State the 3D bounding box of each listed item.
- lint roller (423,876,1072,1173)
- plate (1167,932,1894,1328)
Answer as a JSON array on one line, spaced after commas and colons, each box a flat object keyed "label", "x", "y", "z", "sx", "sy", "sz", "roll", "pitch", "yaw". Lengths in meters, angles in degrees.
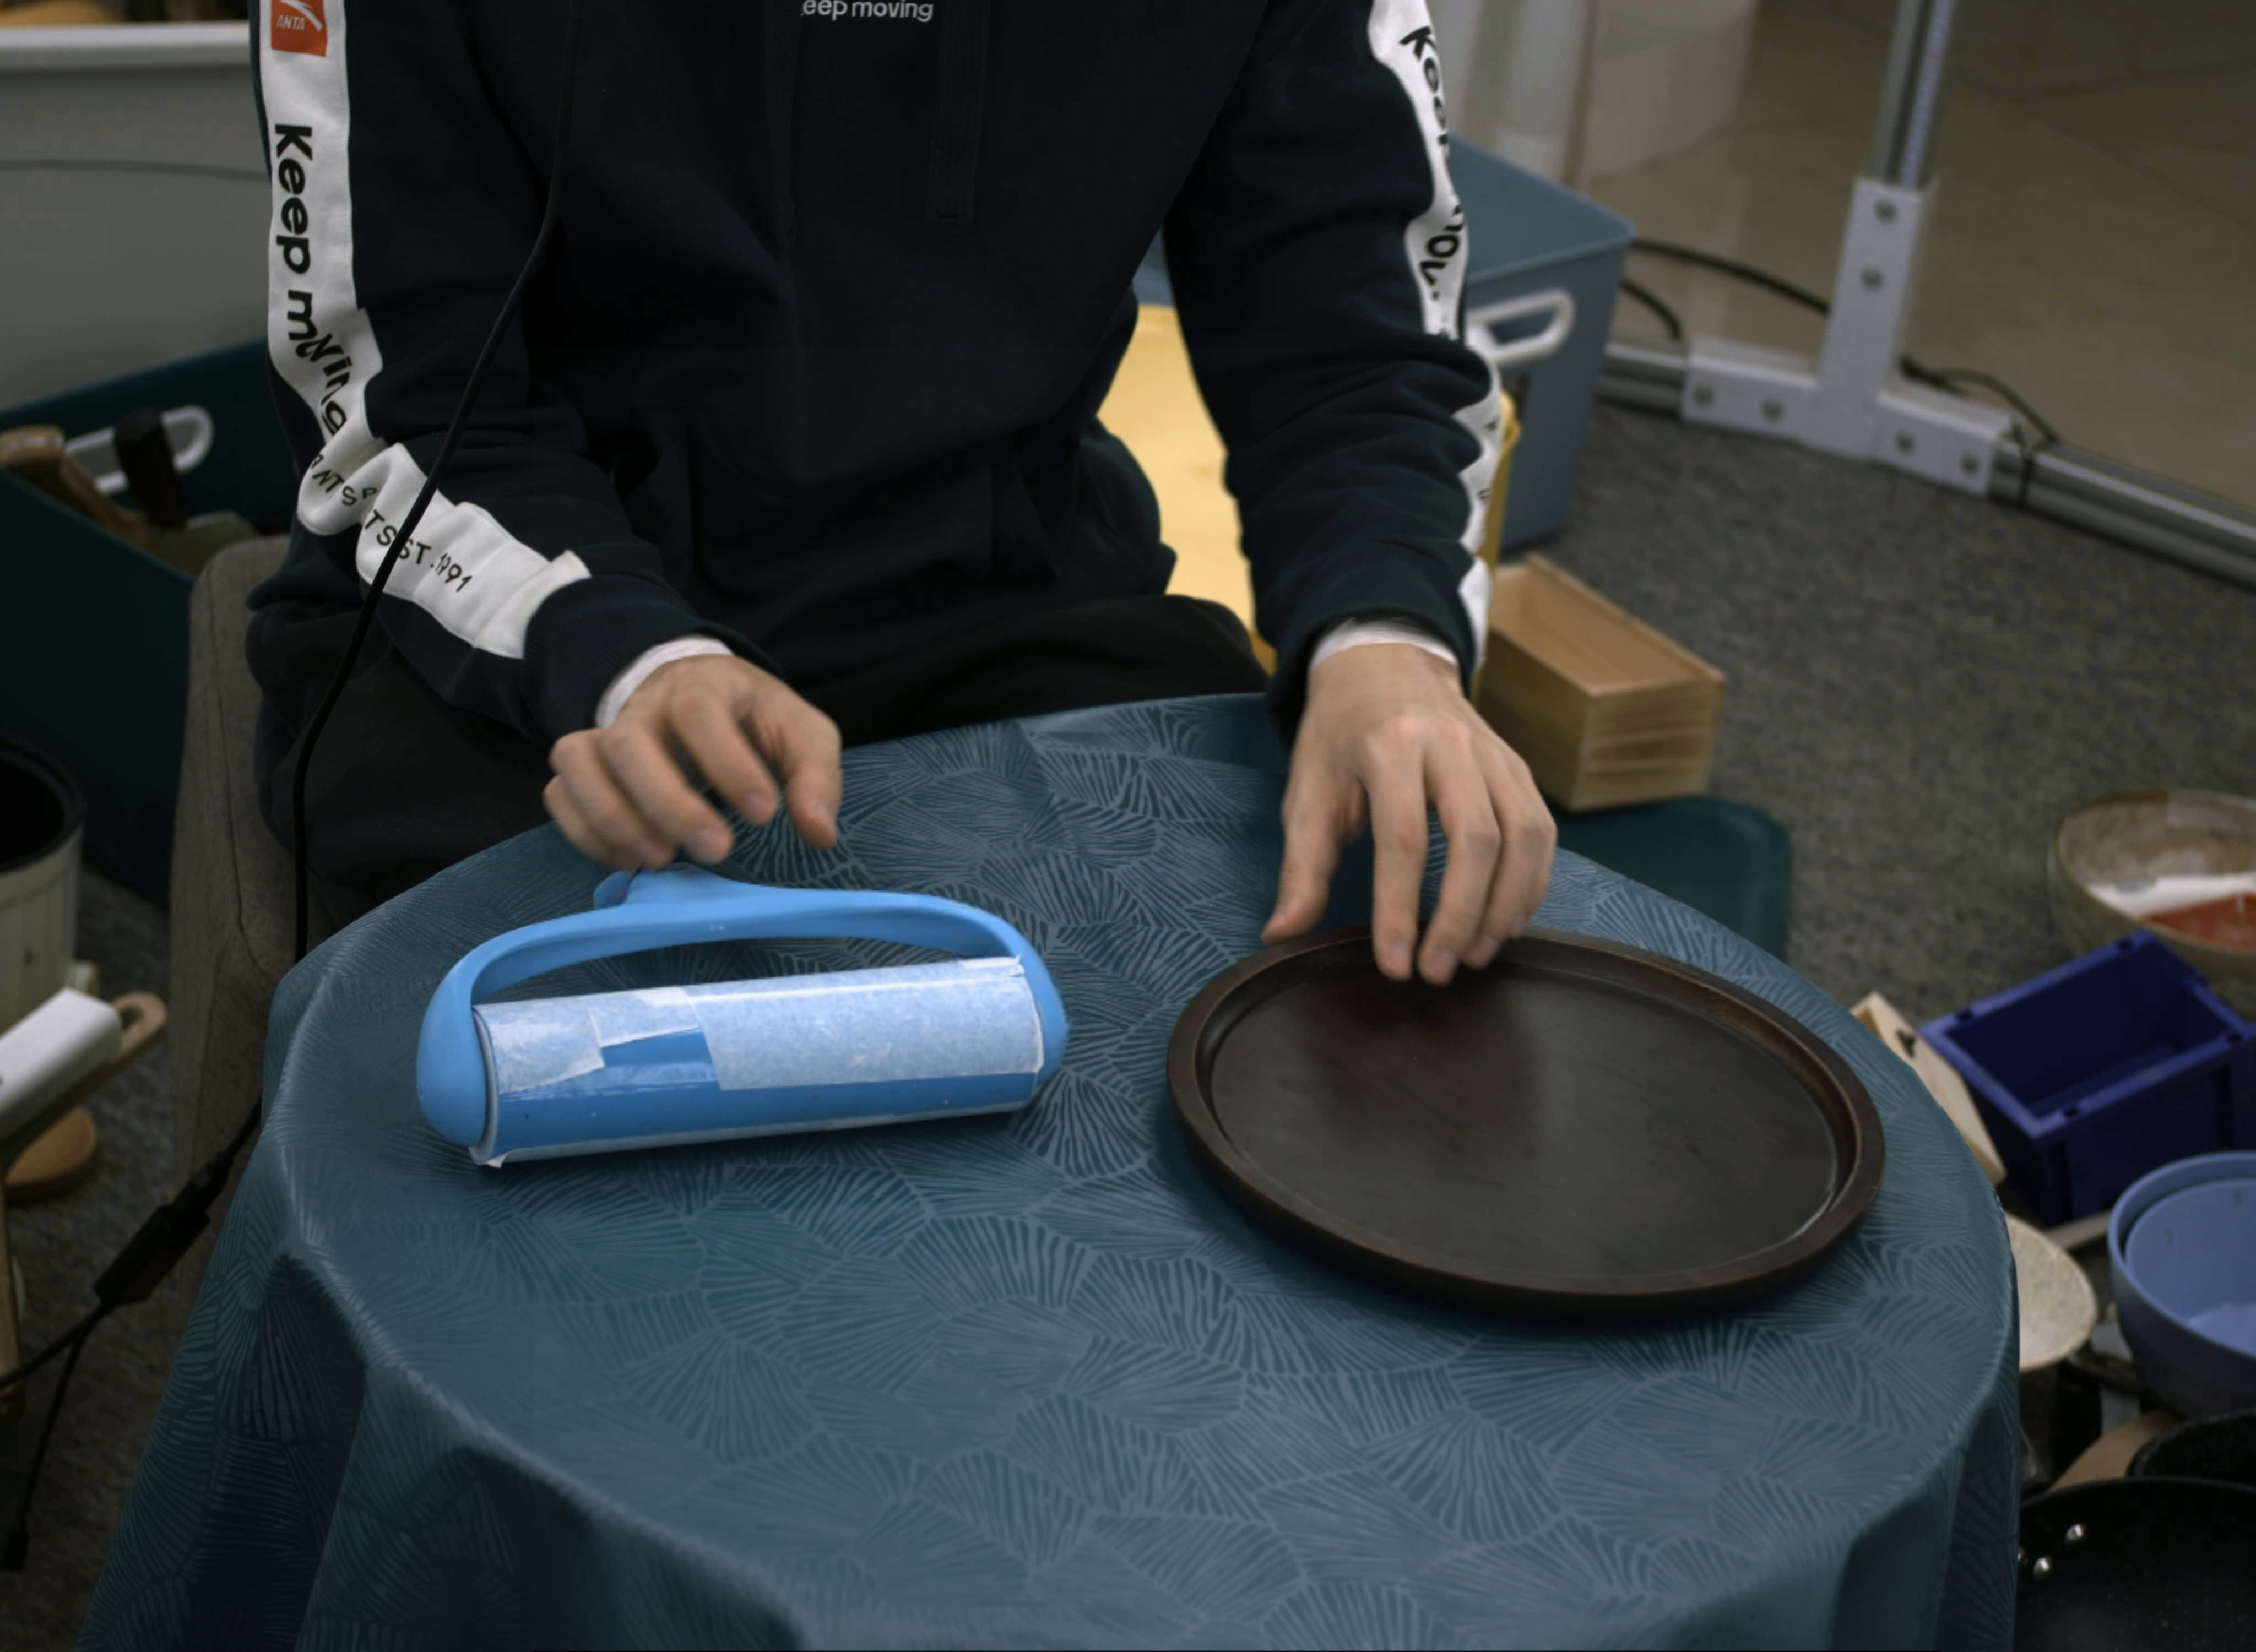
[{"label": "lint roller", "x": -0.150, "y": 0.052, "z": 1.845, "sx": 0.227, "sy": 0.067, "sz": 0.182, "roll": -7, "pitch": 31, "yaw": -23}, {"label": "plate", "x": 0.138, "y": 0.103, "z": 1.845, "sx": 0.254, "sy": 0.029, "sz": 0.256, "roll": 6, "pitch": 27, "yaw": -3}]
